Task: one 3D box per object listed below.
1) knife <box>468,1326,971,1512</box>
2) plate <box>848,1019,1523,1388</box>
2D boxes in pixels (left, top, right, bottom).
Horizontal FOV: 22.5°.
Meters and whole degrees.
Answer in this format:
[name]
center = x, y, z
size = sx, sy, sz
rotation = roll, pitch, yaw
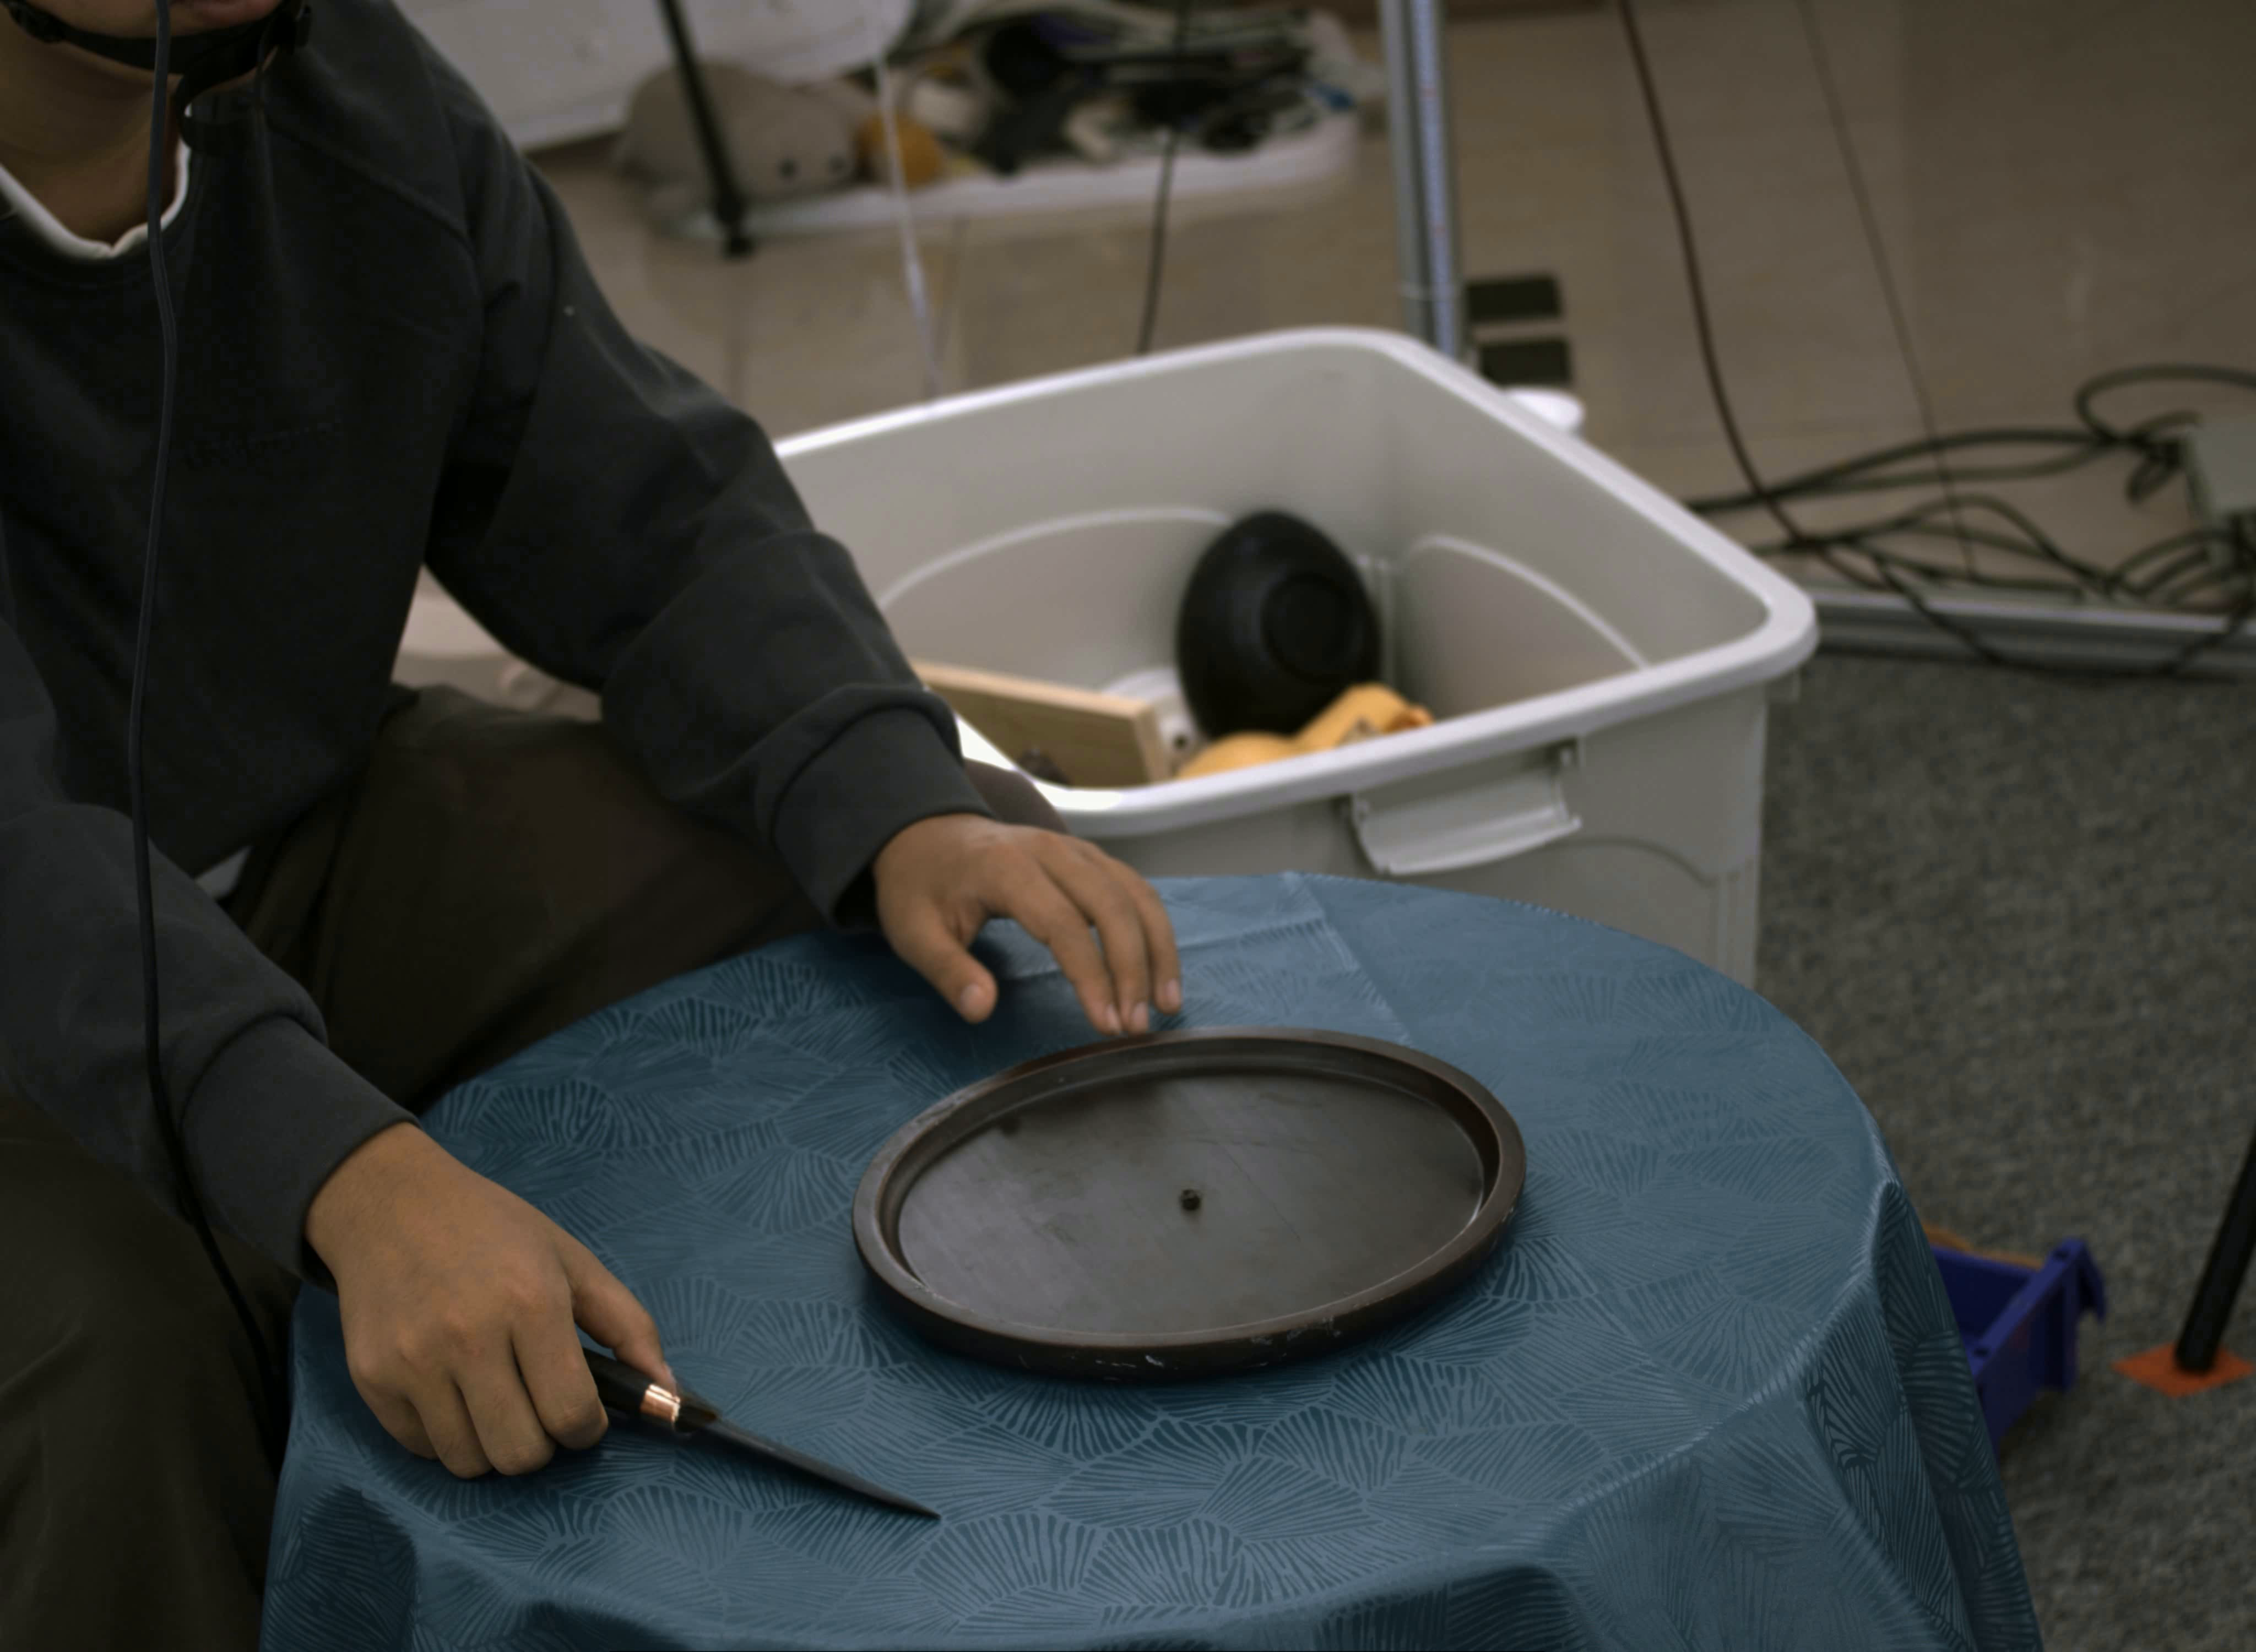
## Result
[knife]
center = -0.147, 0.211, 2.012
size = 0.224, 0.017, 0.026
rotation = 15, 11, 34
[plate]
center = 0.022, 0.139, 2.115
size = 0.254, 0.029, 0.251
rotation = -7, 25, 3
